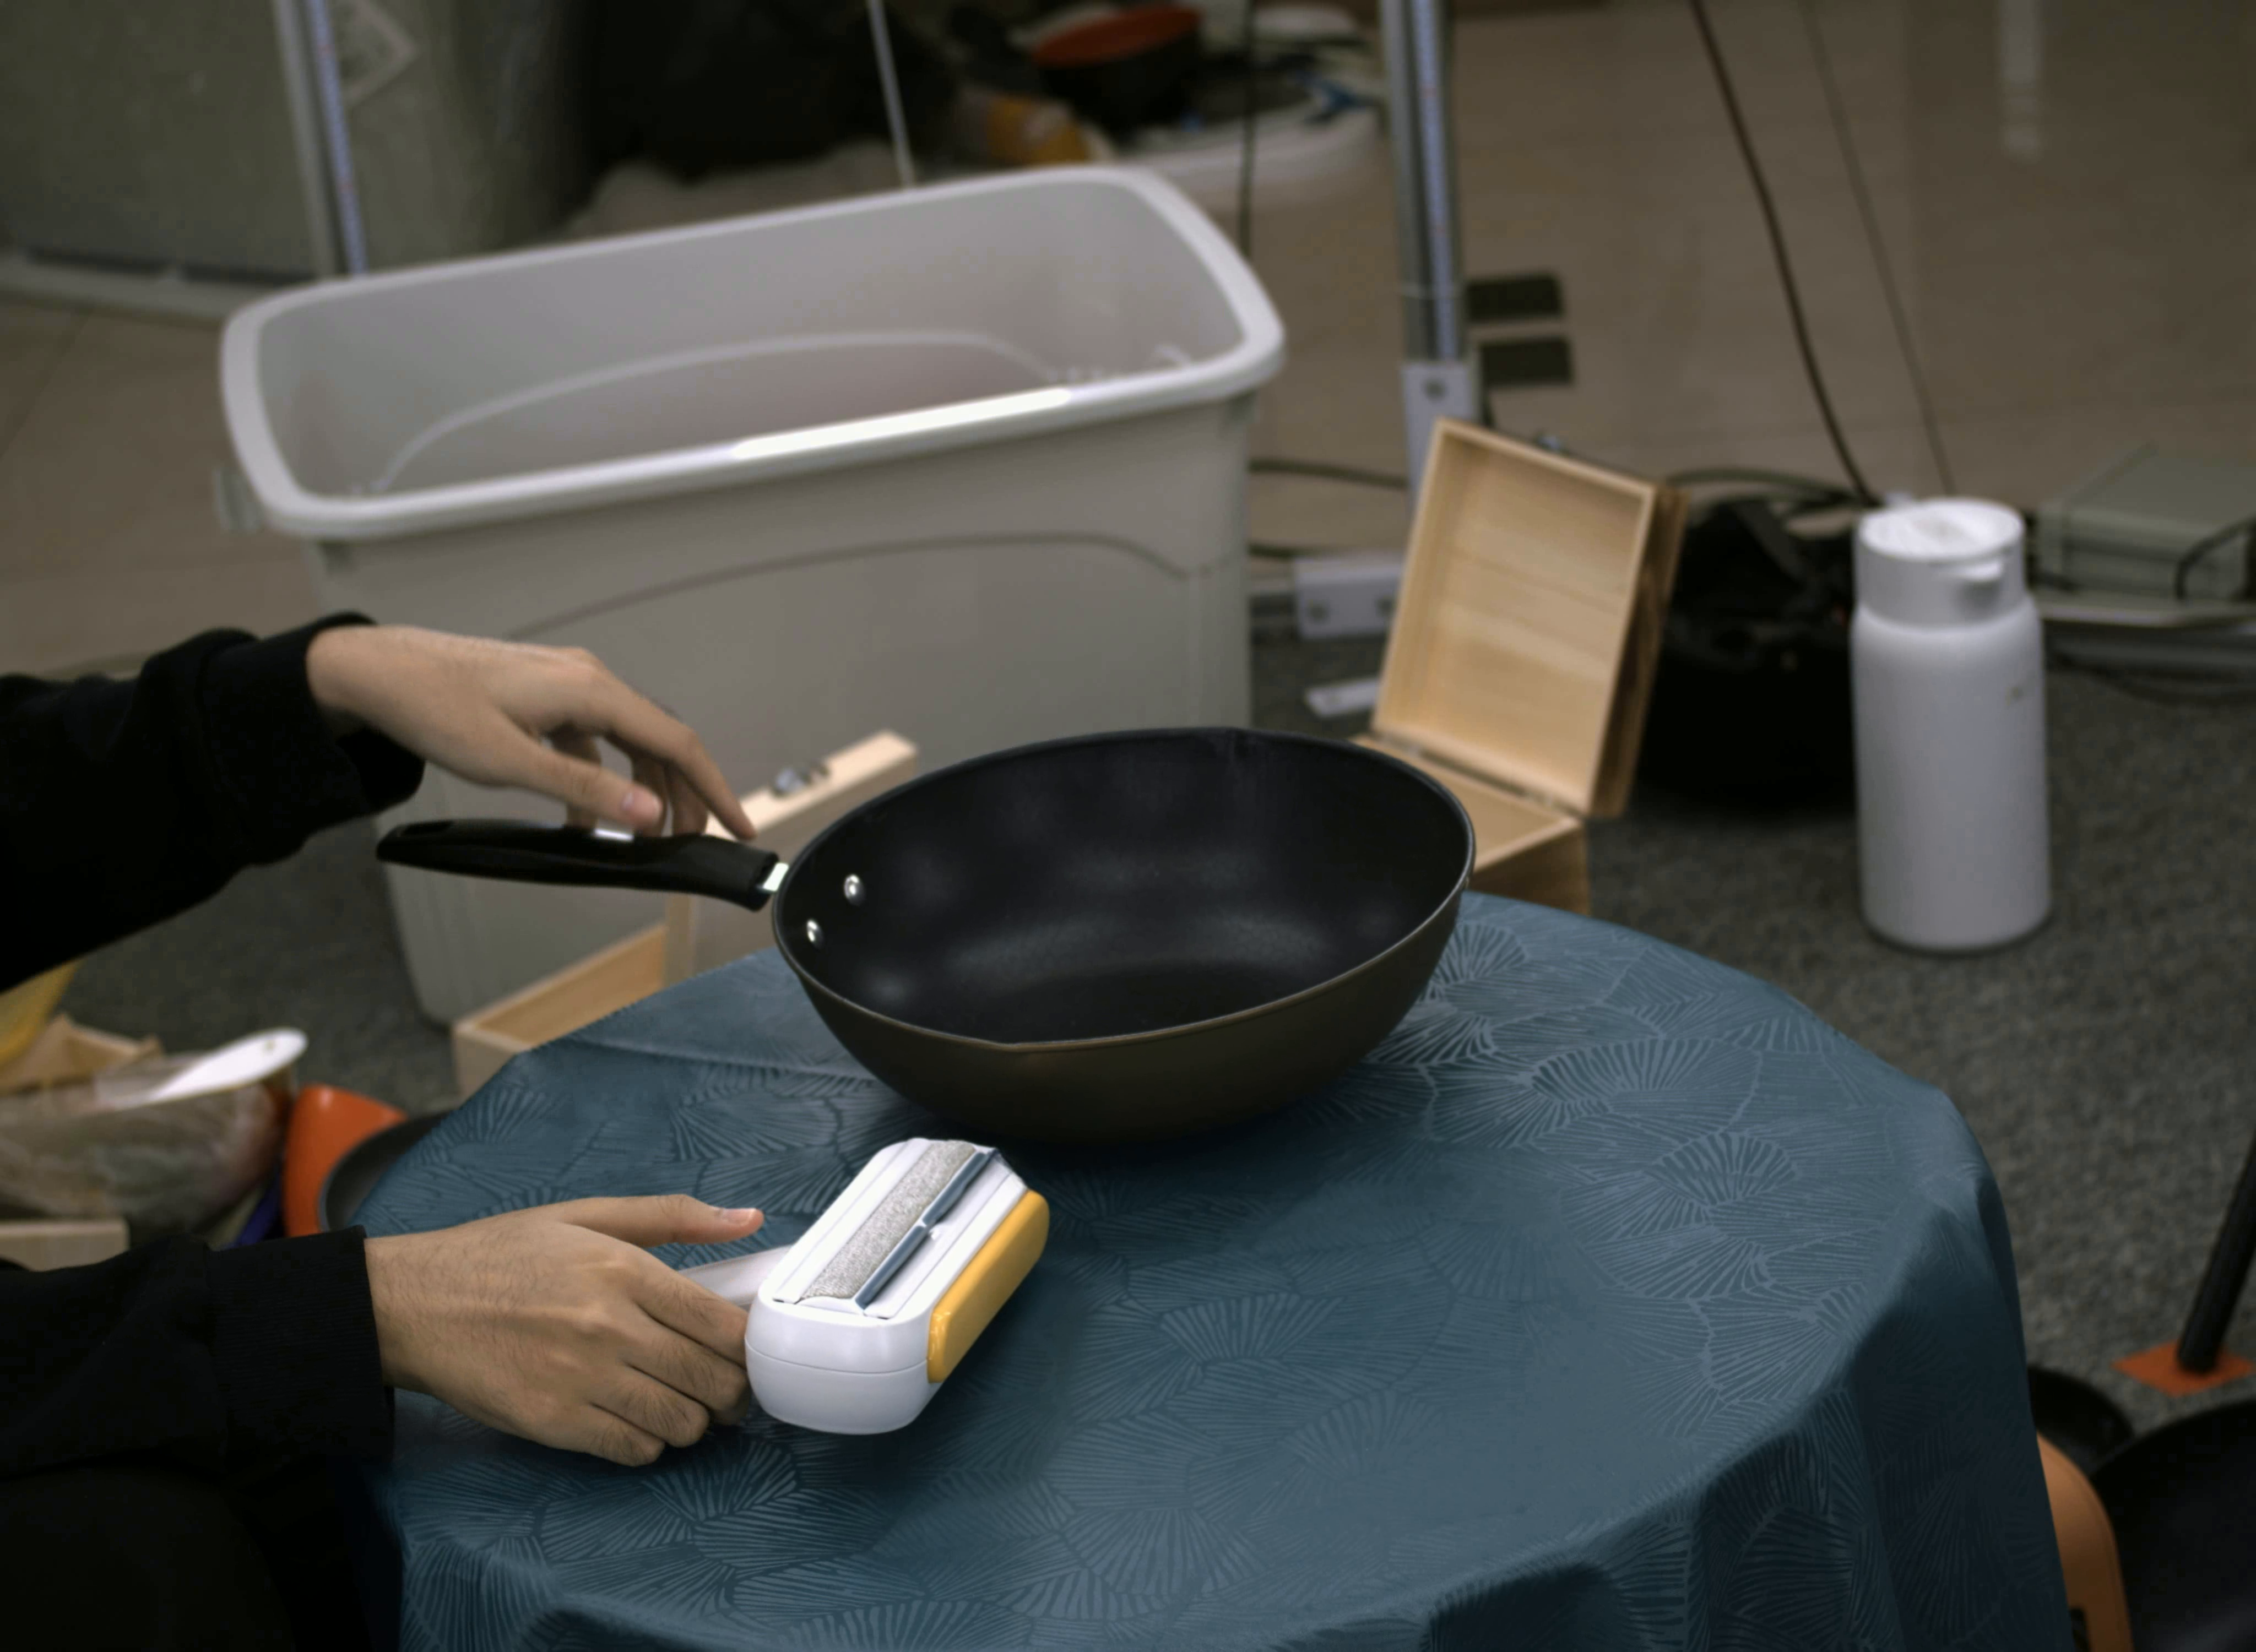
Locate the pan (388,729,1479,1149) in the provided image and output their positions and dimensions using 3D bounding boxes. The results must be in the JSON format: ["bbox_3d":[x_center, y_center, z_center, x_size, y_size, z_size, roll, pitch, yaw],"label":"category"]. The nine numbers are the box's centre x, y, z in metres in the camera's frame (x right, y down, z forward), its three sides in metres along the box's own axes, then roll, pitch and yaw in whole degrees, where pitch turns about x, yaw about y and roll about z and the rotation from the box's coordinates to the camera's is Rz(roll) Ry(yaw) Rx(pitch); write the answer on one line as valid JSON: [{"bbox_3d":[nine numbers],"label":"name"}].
[{"bbox_3d":[-0.083,0.049,2.257,0.462,0.088,0.284,3,27,20],"label":"pan"}]

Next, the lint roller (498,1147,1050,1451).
[{"bbox_3d":[-0.139,0.171,2.030,0.192,0.075,0.190,0,20,19],"label":"lint roller"}]
